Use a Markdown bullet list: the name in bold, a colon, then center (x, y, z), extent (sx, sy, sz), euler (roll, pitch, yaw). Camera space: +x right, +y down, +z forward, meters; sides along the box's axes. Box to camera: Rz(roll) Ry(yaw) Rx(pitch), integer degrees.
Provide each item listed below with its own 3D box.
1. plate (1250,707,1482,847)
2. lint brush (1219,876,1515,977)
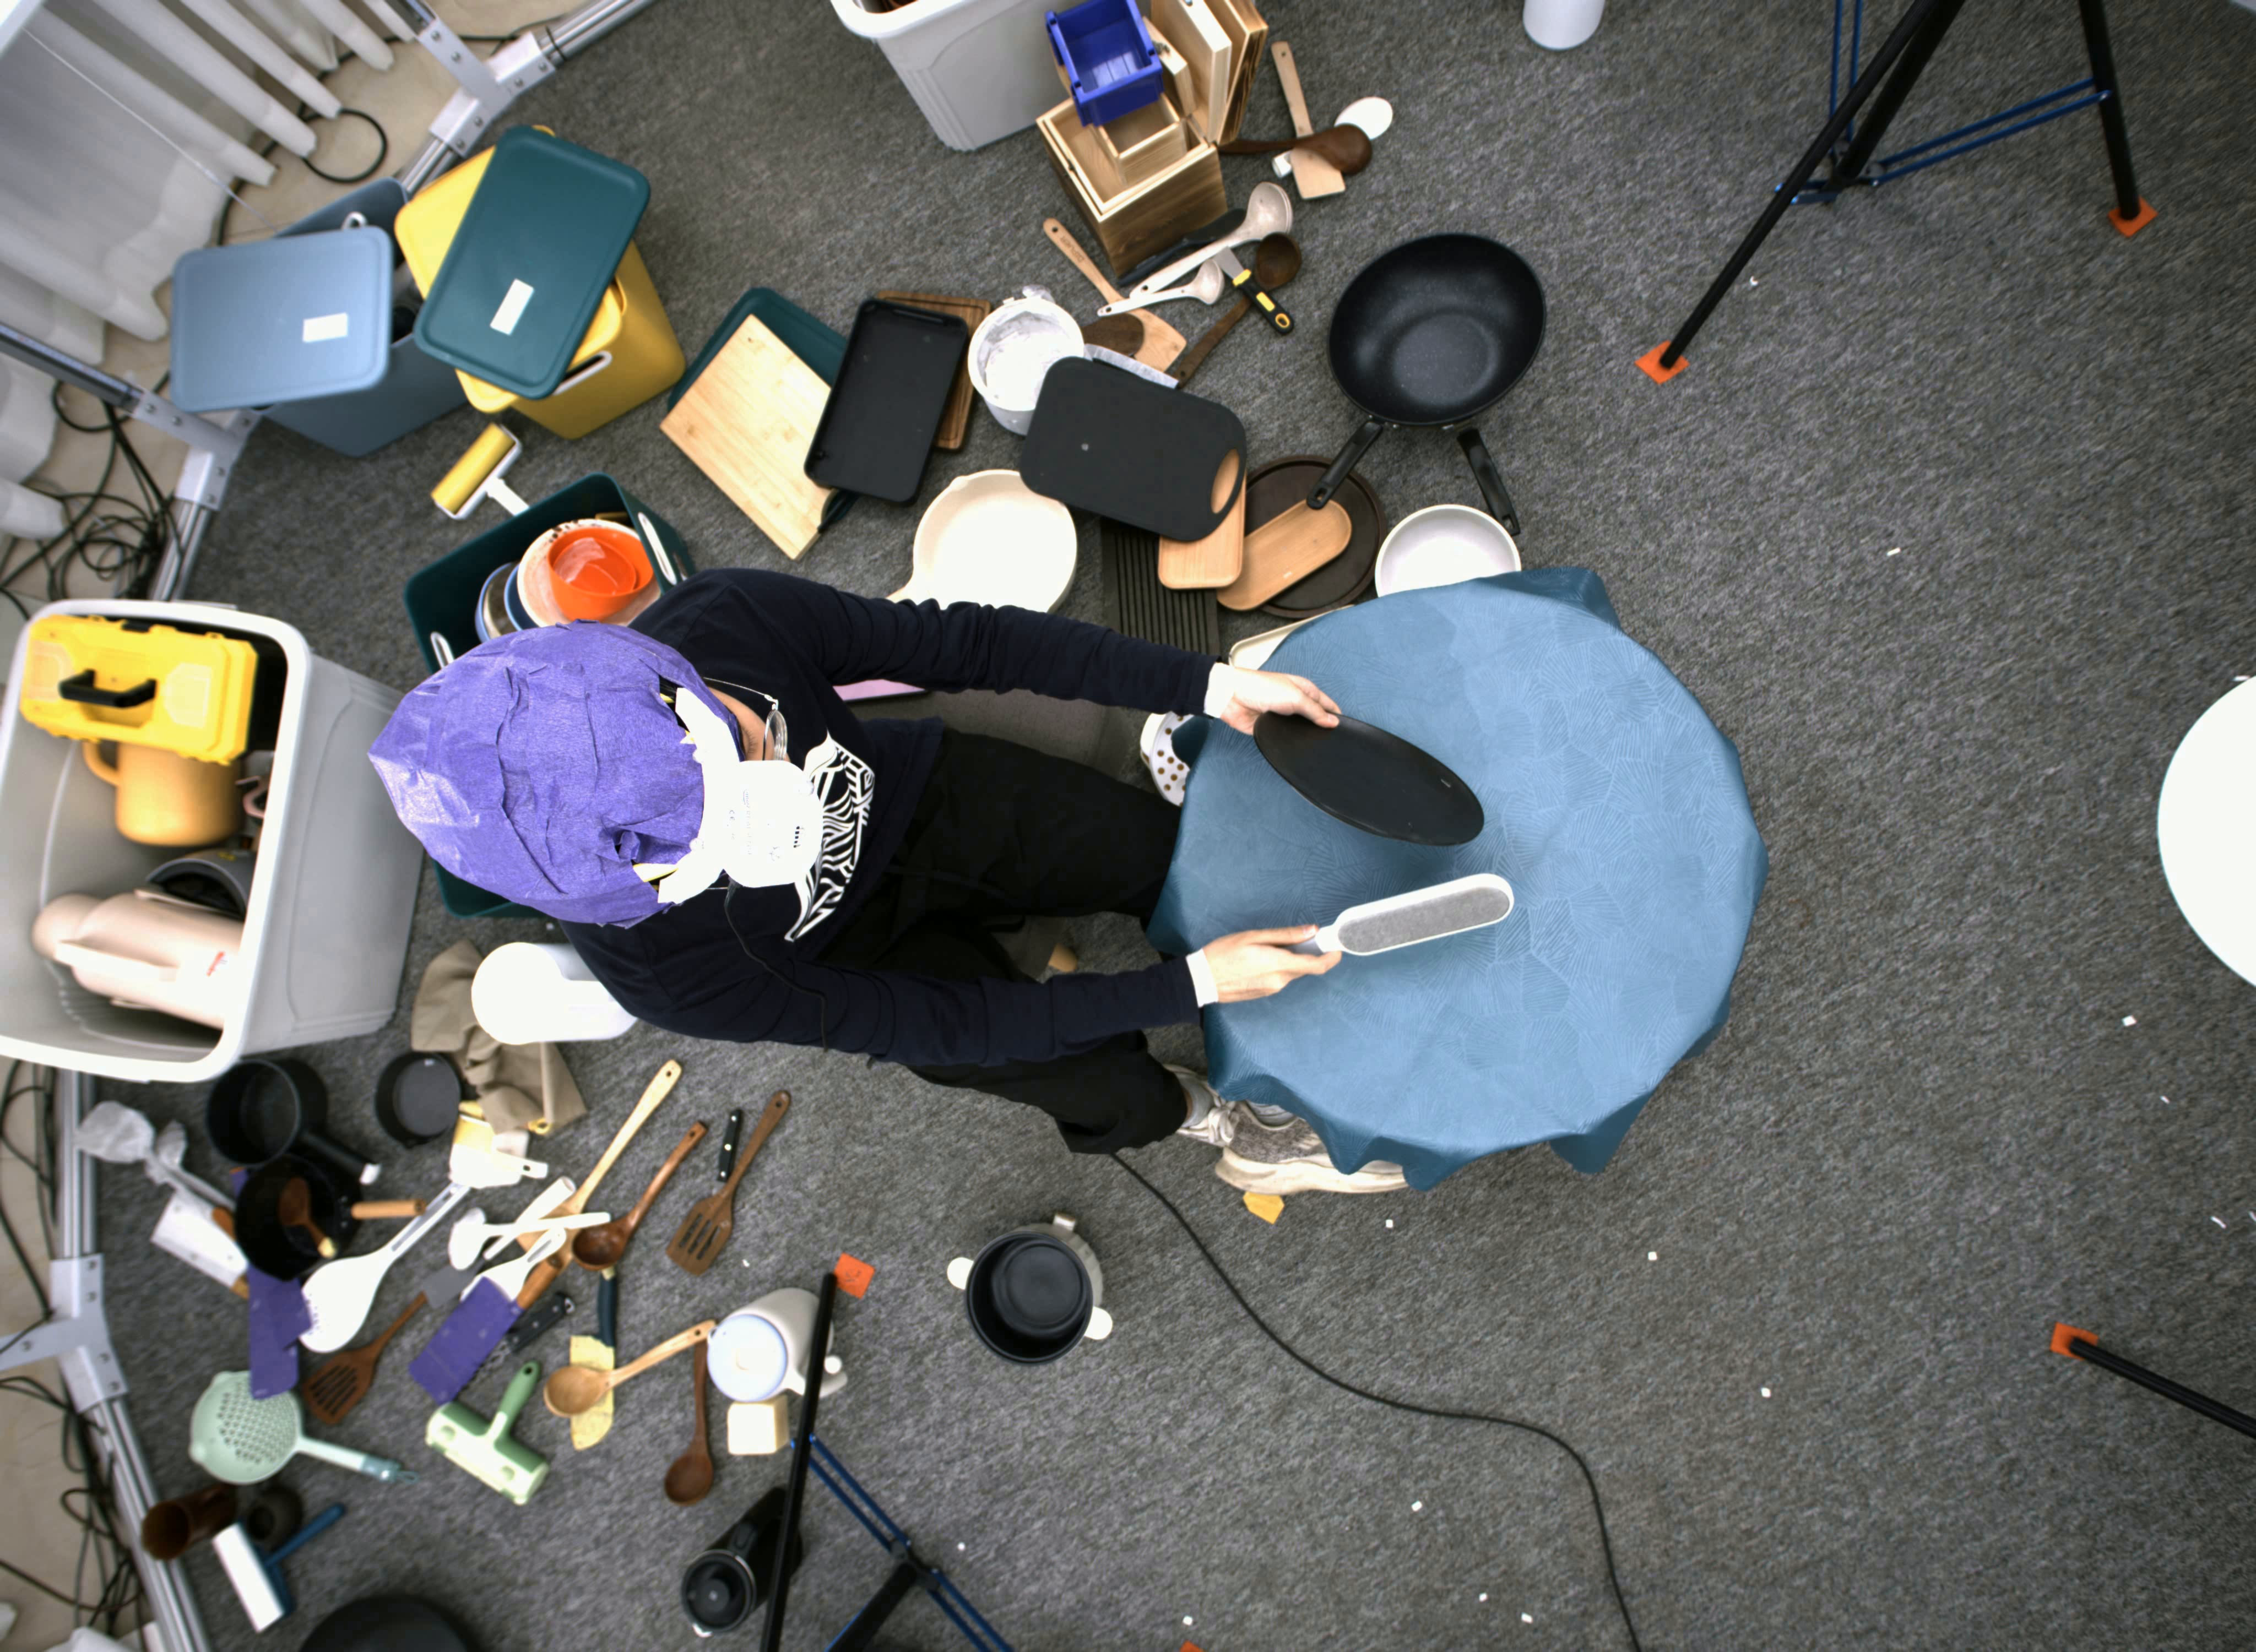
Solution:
- **plate**: center (0.230, -0.046, 1.344), extent (0.244, 0.239, 0.024), euler (28, 119, 11)
- **lint brush**: center (0.233, 0.104, 1.381), extent (0.312, 0.061, 0.020), euler (-17, 39, 22)
